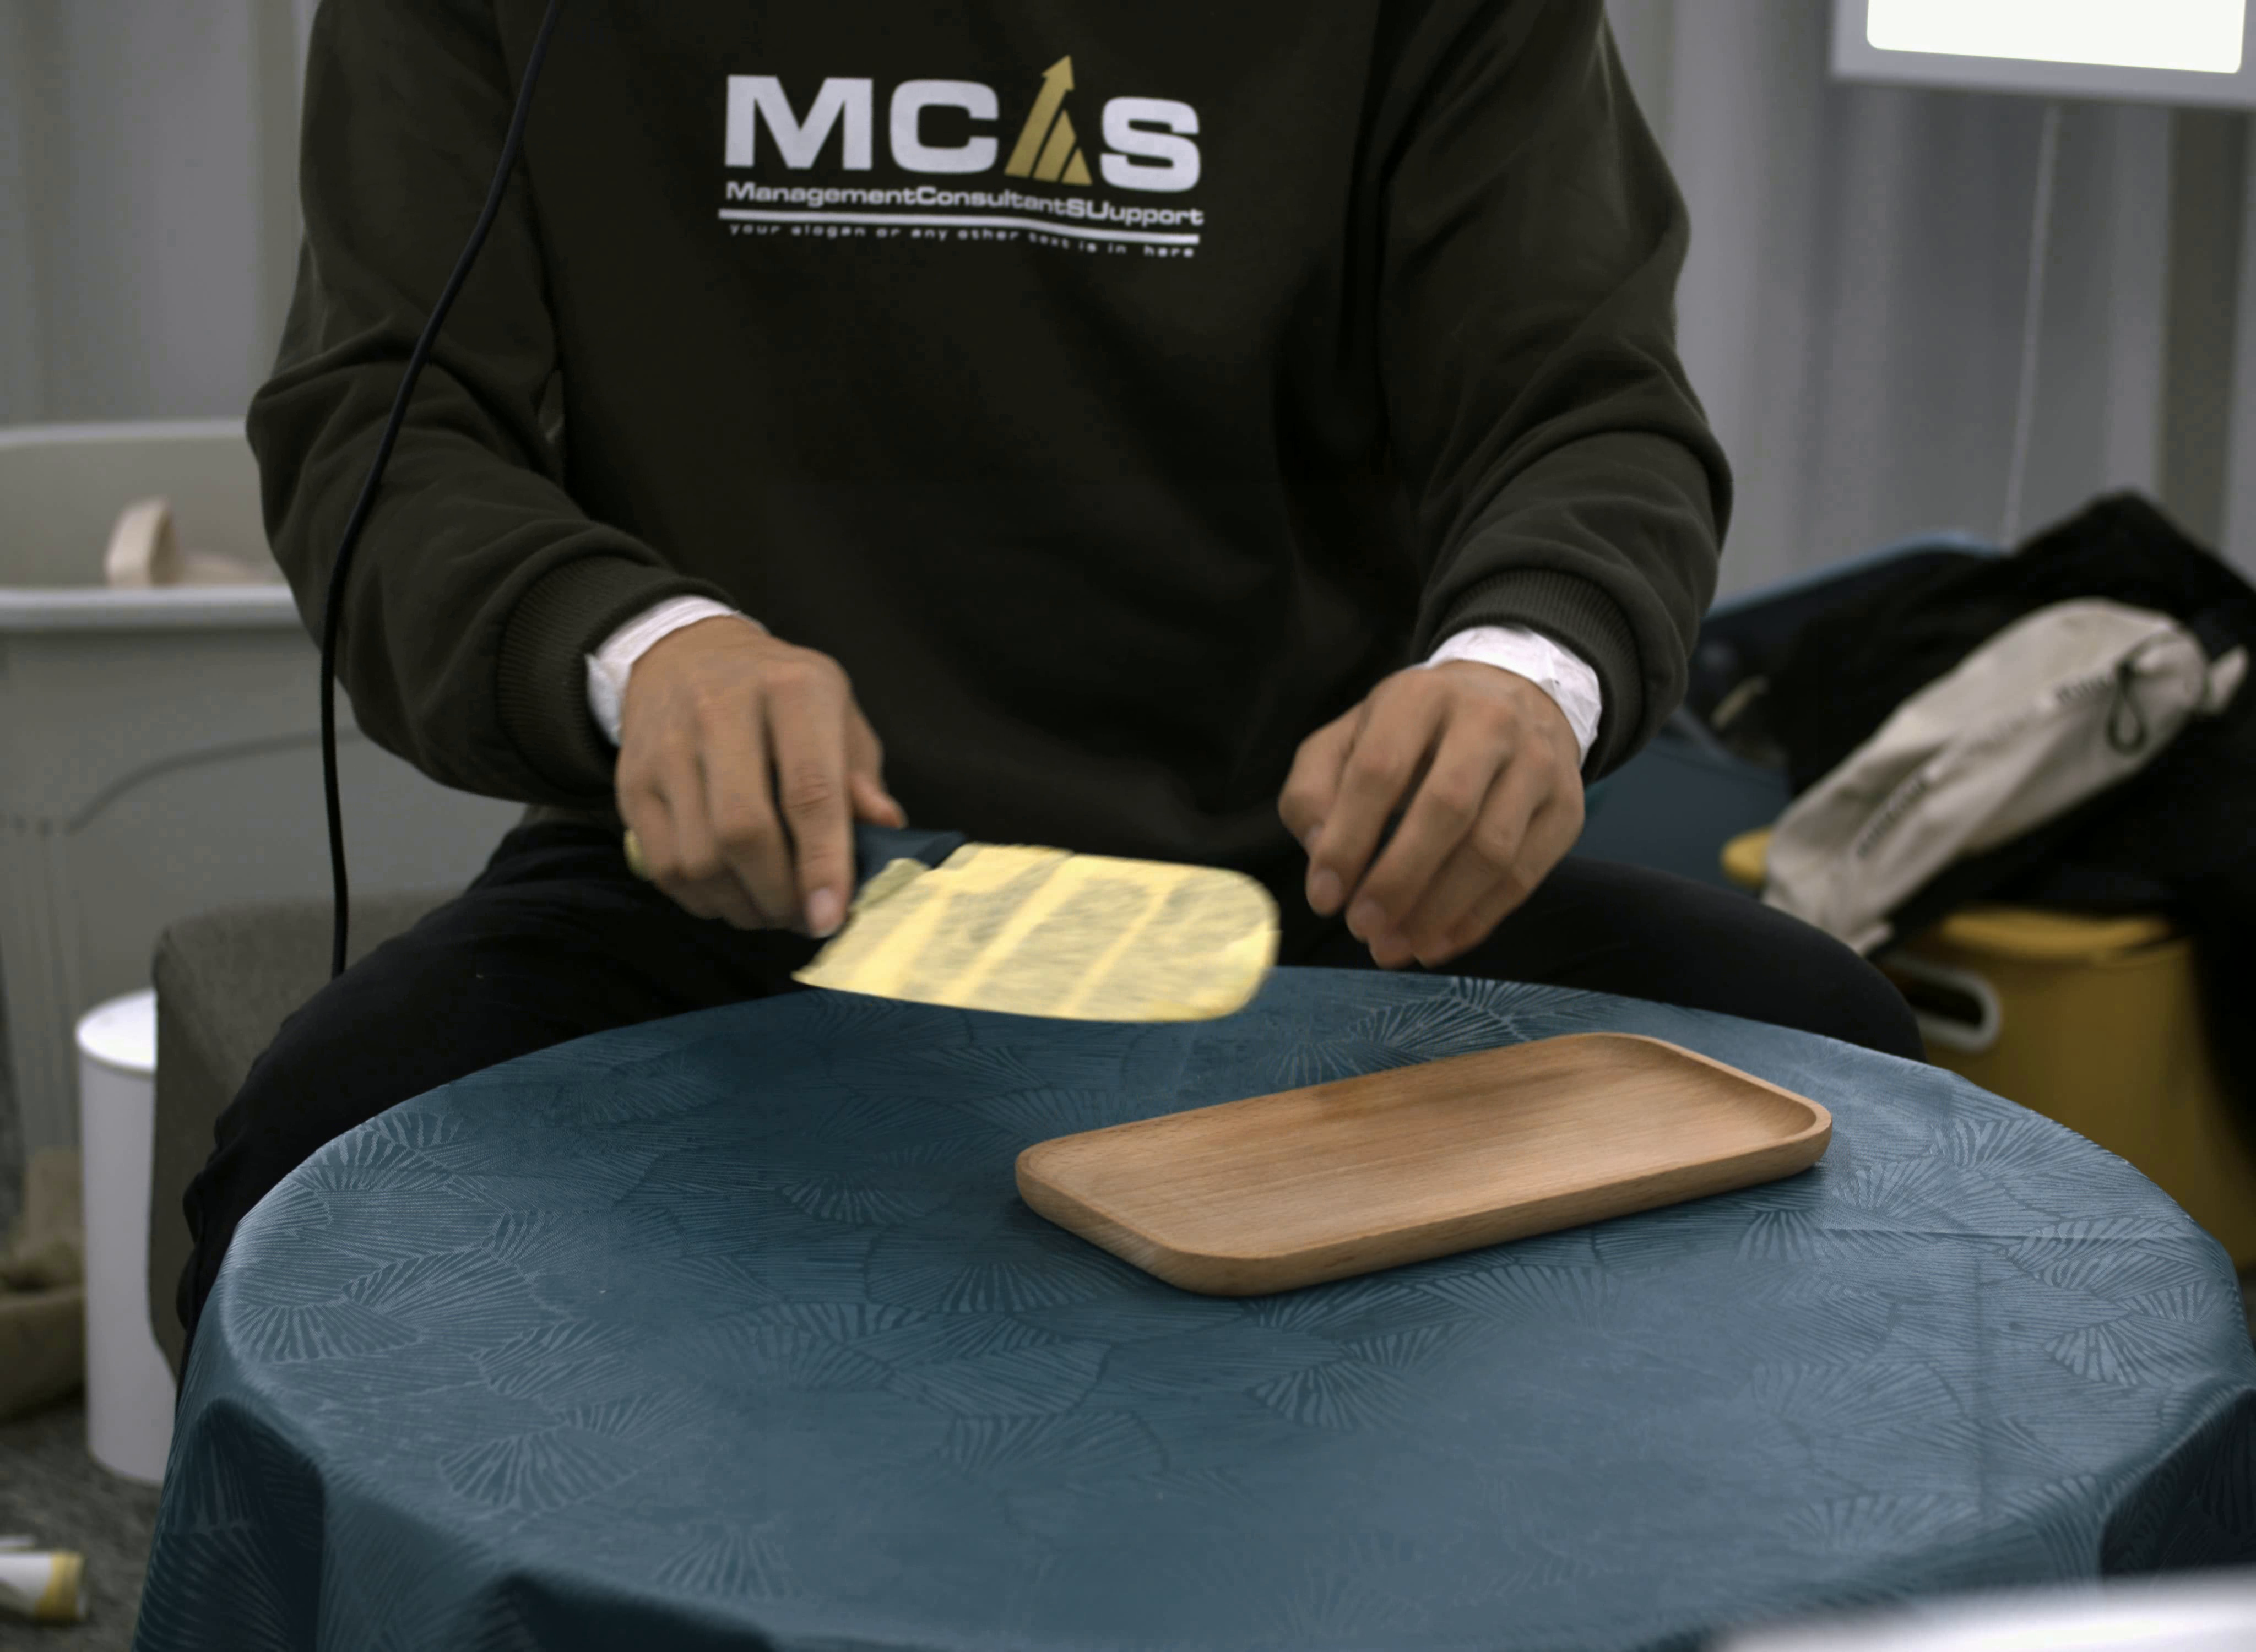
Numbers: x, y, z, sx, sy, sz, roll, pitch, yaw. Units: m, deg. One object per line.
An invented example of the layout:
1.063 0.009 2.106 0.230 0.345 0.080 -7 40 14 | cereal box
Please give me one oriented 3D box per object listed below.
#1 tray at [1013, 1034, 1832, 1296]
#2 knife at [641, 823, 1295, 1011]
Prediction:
0.093 0.103 1.630 0.252 0.023 0.129 -10 16 -32 | tray
-0.057 0.028 1.605 0.286 0.027 0.081 6 42 44 | knife
